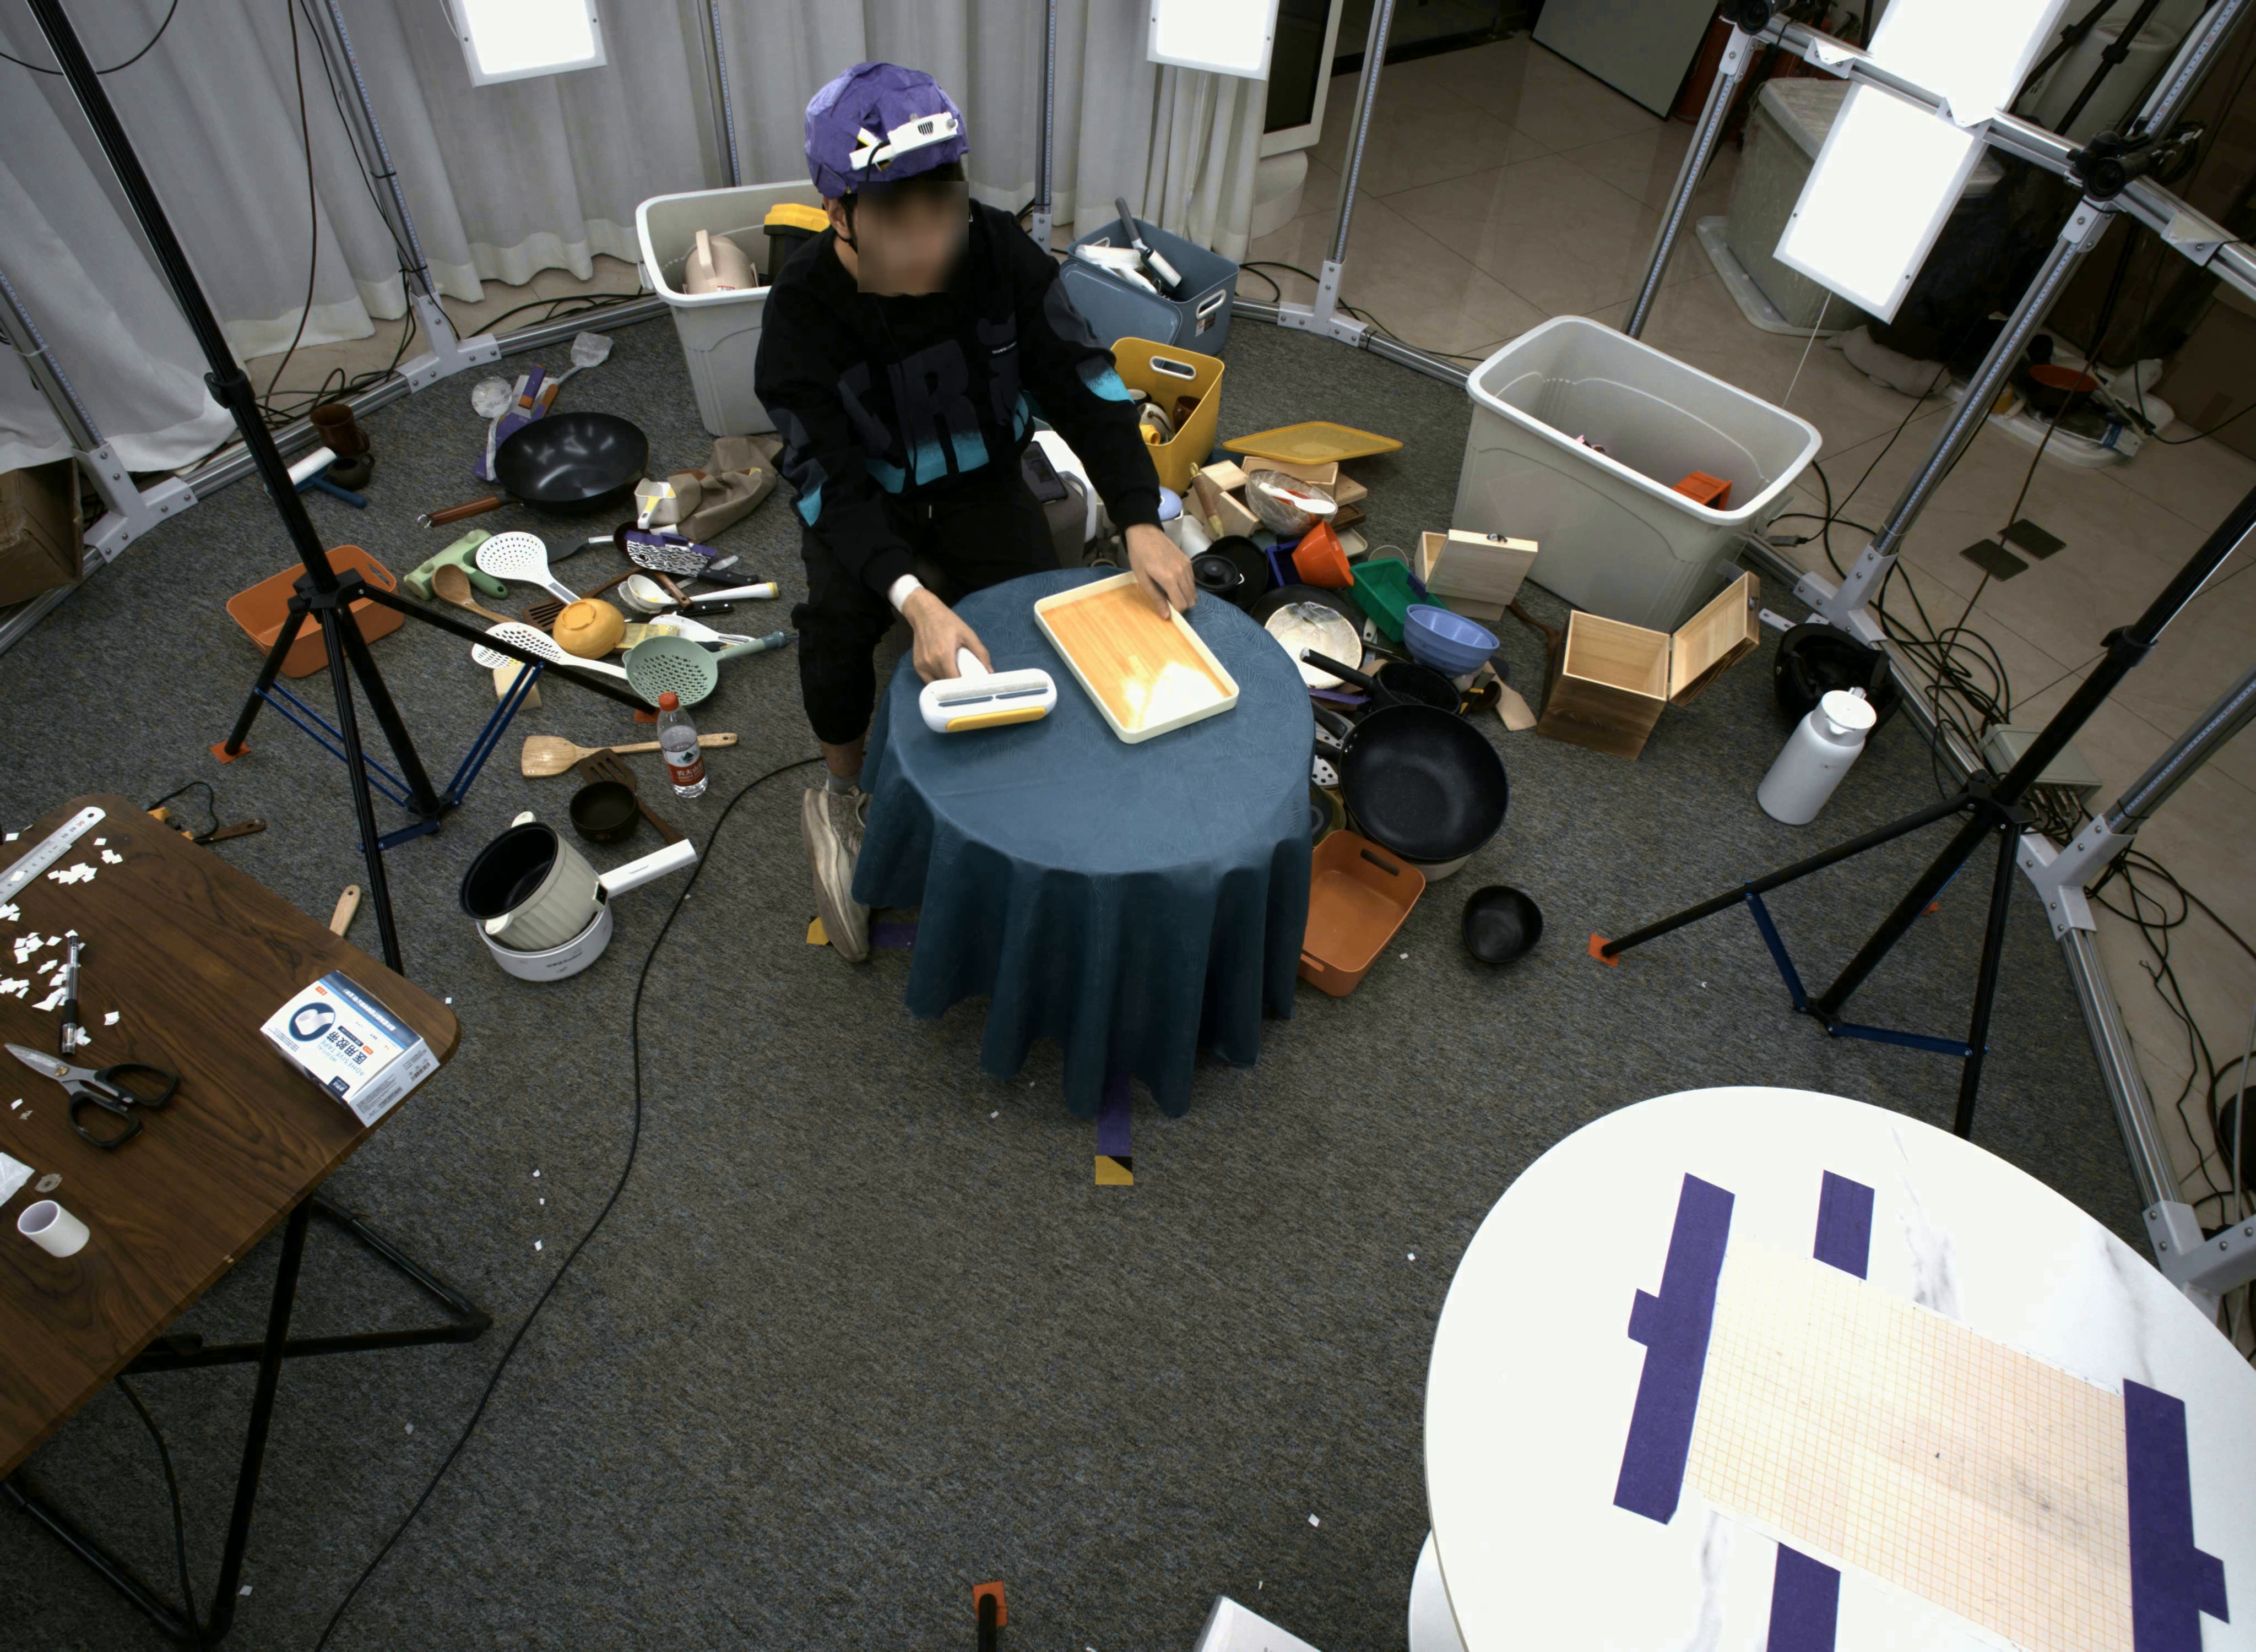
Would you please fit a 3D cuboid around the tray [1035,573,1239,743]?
[{"bbox_3d":[0.009,-0.250,1.868,0.192,0.027,0.307,-20,53,-20],"label":"tray"}]

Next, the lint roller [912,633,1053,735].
[{"bbox_3d":[-0.217,-0.211,1.786,0.193,0.072,0.197,-10,54,-20],"label":"lint roller"}]
